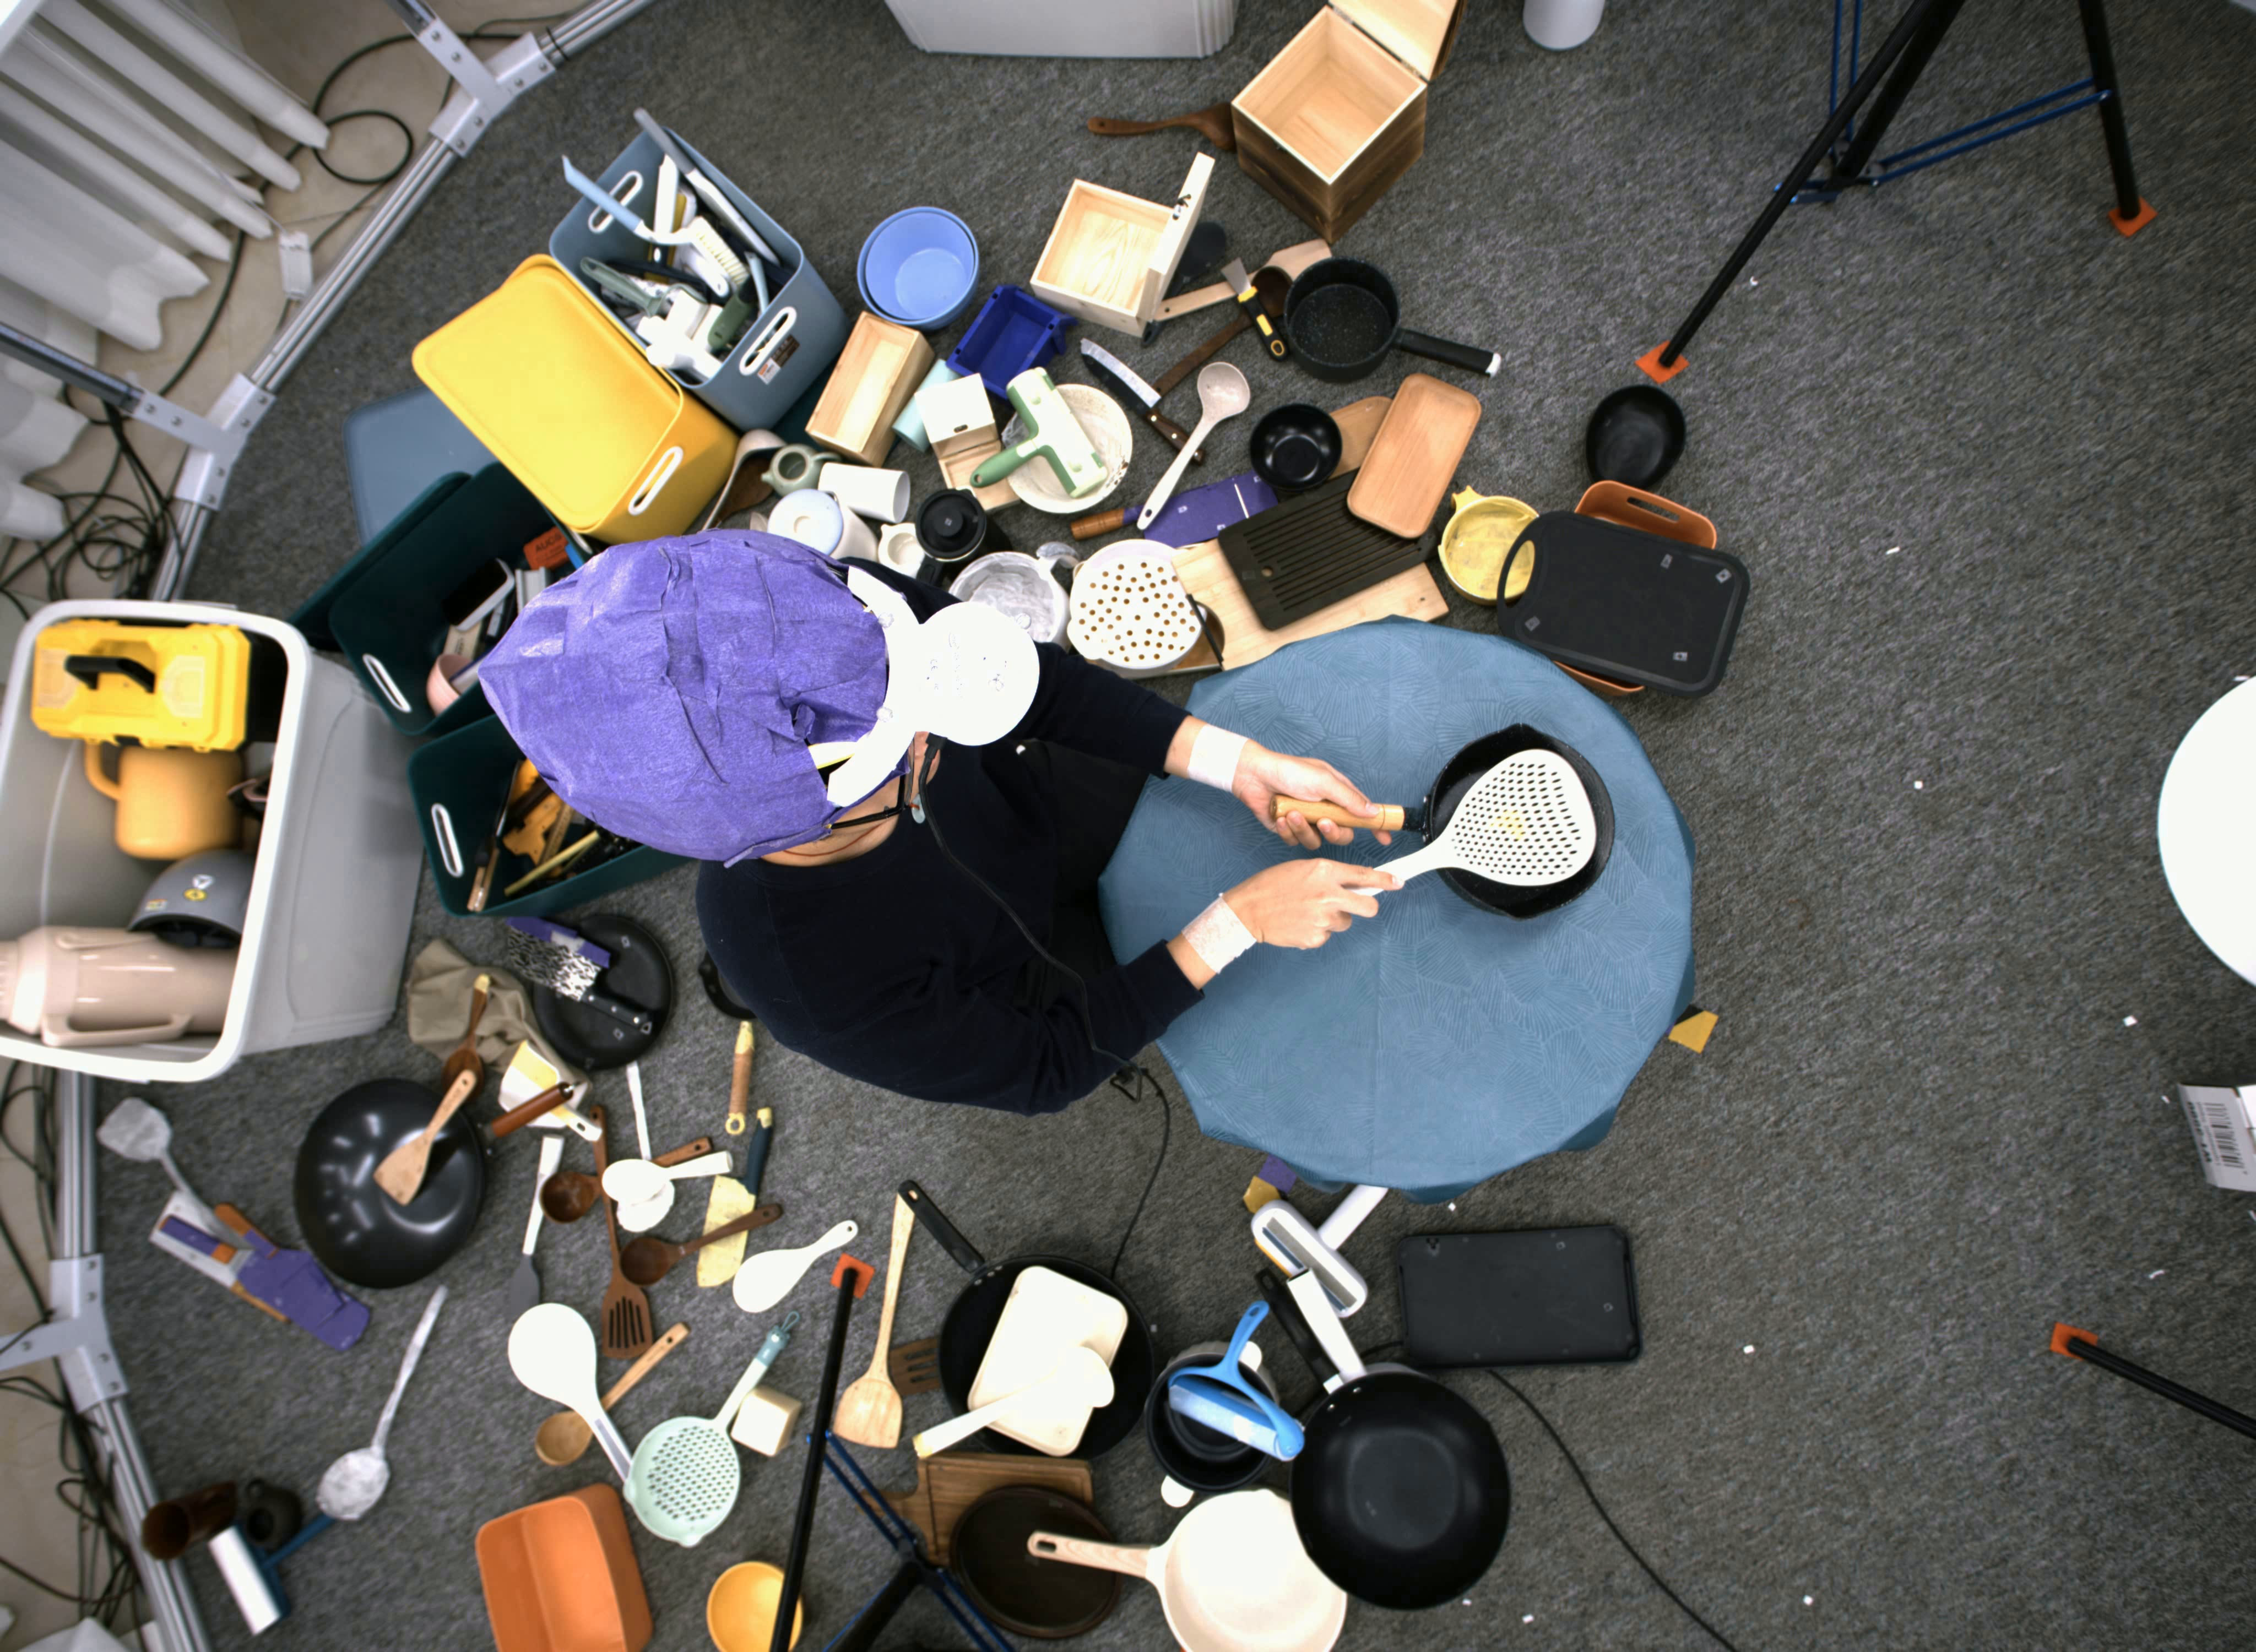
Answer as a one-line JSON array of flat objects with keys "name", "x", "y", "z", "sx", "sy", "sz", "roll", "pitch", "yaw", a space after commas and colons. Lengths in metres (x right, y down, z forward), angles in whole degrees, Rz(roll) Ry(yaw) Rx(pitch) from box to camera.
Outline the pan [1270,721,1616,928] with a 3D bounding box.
[{"name": "pan", "x": 0.308, "y": -0.003, "z": 1.379, "sx": 0.343, "sy": 0.109, "sz": 0.206, "roll": 2, "pitch": 83, "yaw": 0}]

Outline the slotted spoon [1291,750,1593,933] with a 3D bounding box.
[{"name": "slotted spoon", "x": 0.309, "y": 0.028, "z": 1.350, "sx": 0.344, "sy": 0.051, "sz": 0.137, "roll": -21, "pitch": 92, "yaw": -23}]
